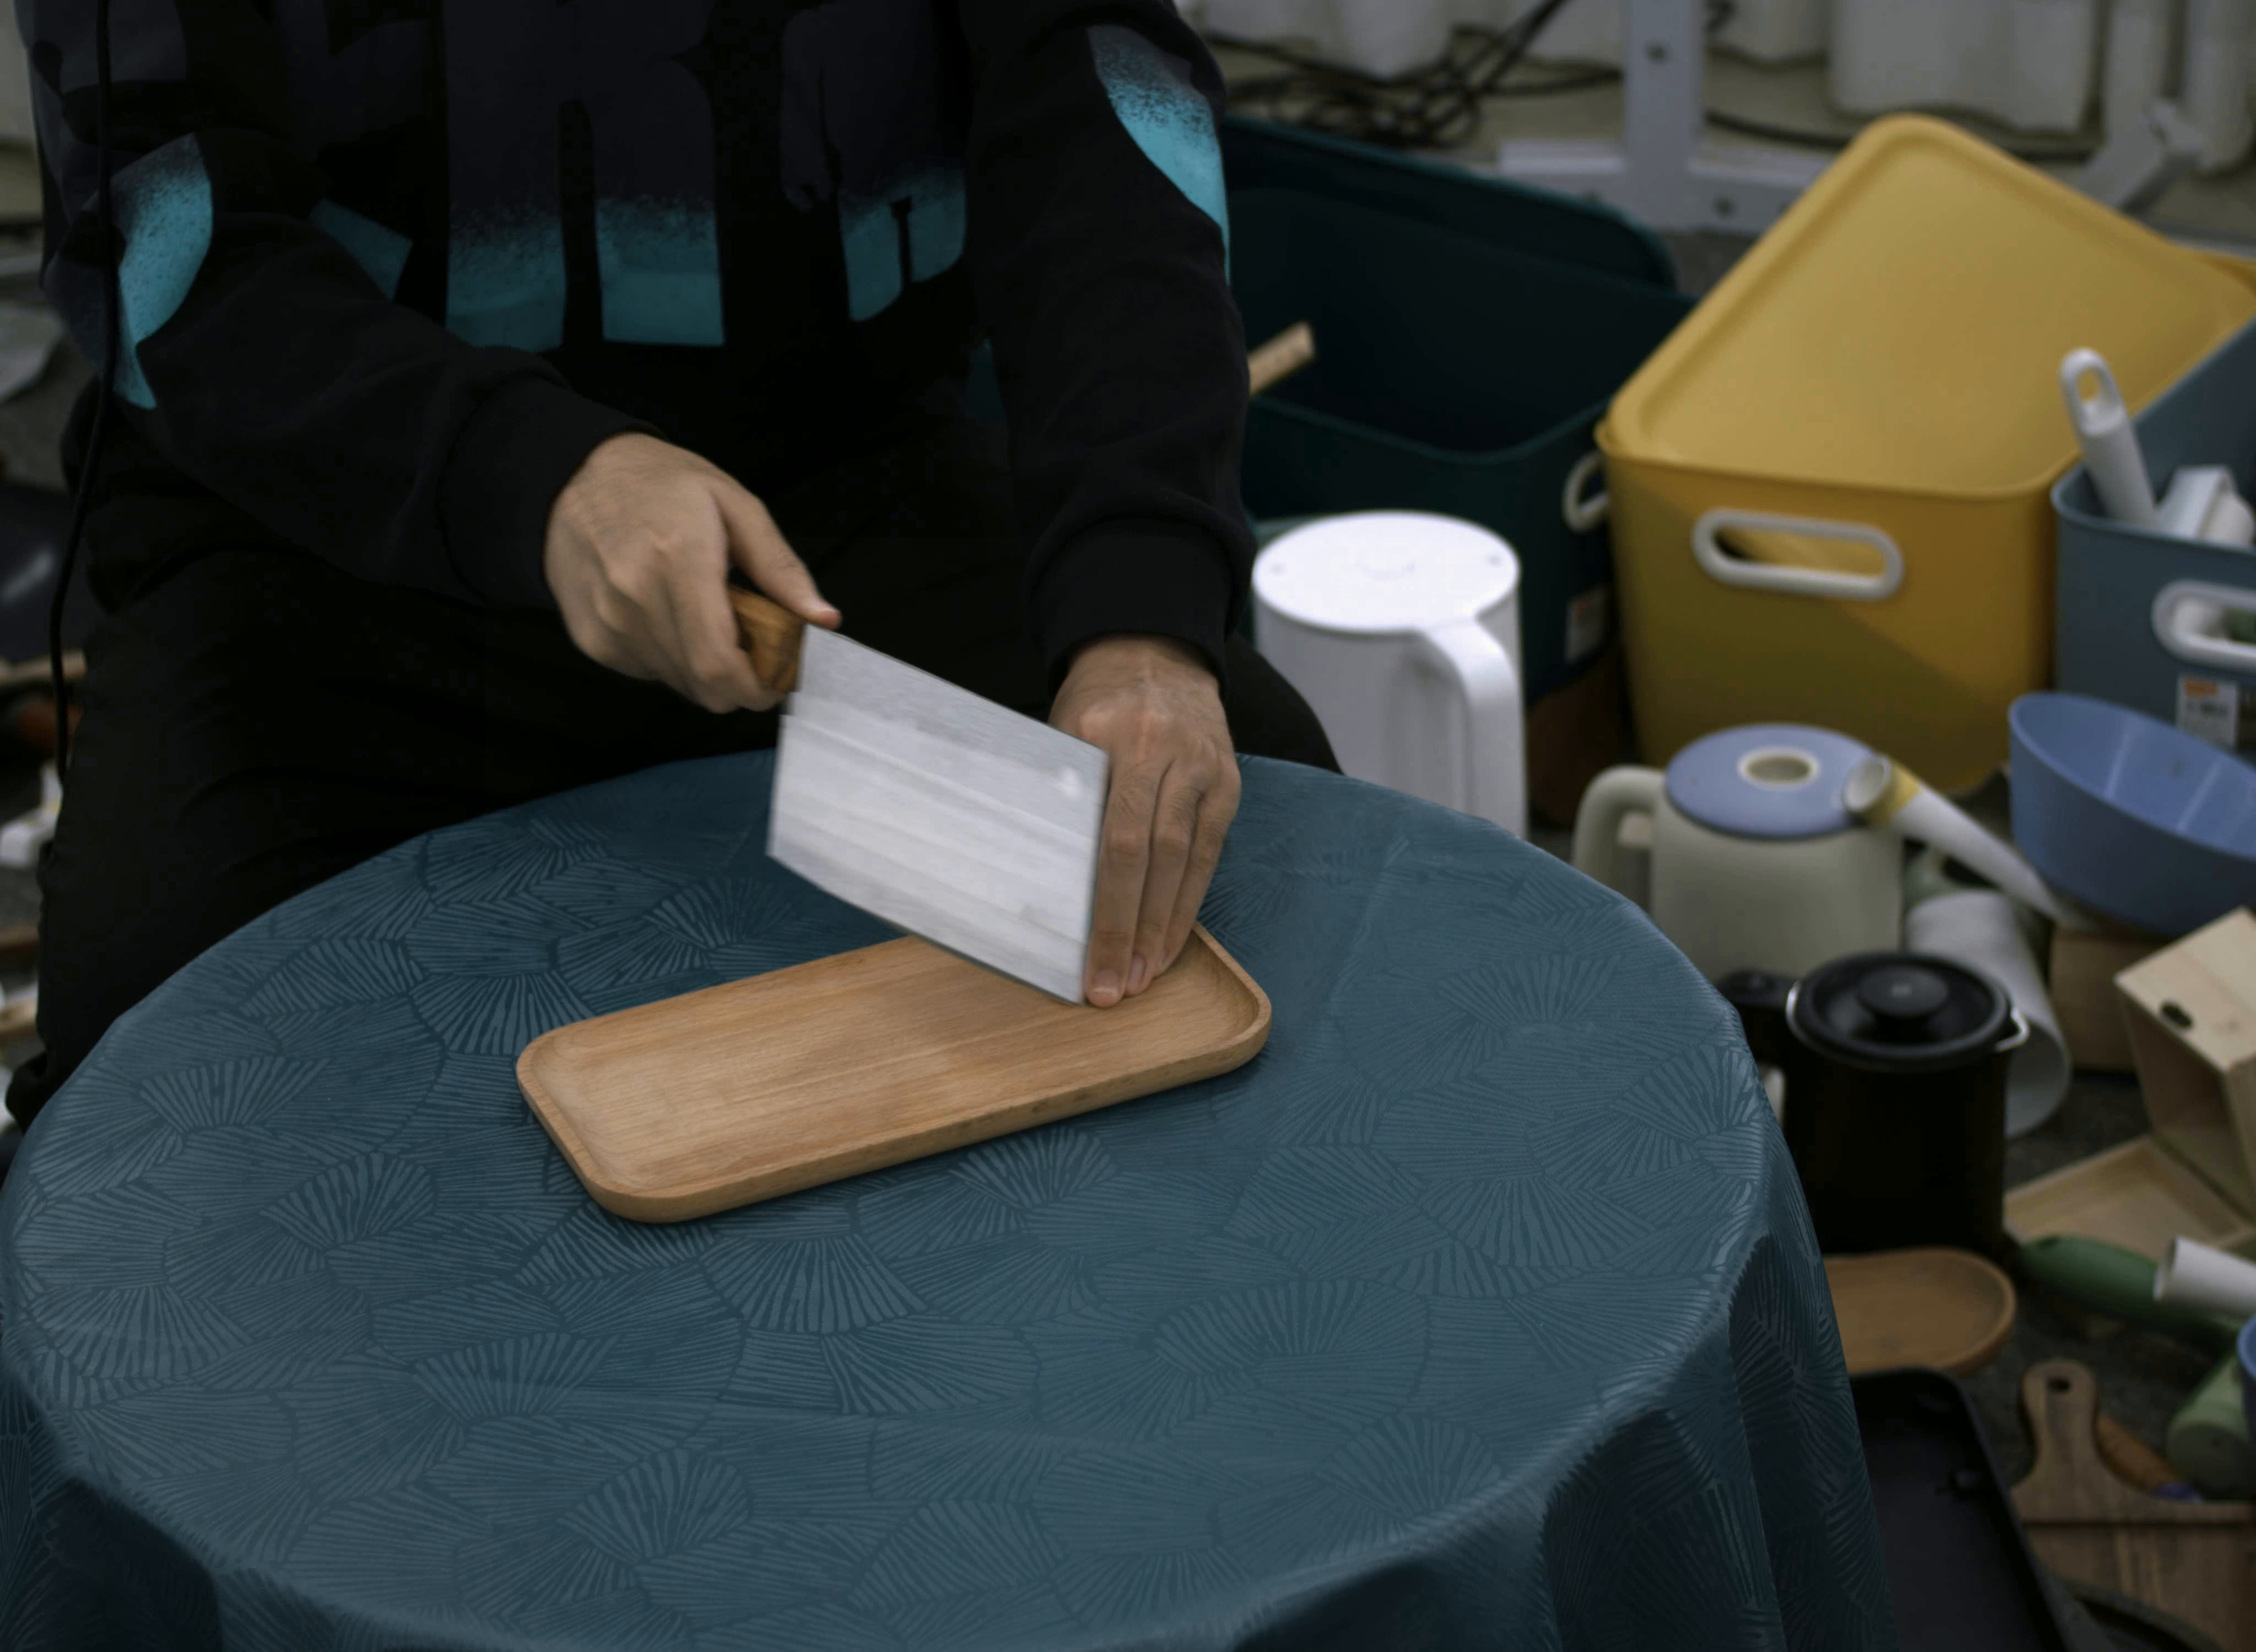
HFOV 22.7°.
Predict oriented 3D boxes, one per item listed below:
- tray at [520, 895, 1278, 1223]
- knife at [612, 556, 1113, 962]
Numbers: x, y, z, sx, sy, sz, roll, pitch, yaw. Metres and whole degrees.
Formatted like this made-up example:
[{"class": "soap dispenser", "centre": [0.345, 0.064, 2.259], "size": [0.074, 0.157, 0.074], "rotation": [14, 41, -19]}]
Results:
[{"class": "tray", "centre": [-0.079, 0.079, 1.935], "size": [0.251, 0.022, 0.131], "rotation": [-12, 31, -19]}, {"class": "knife", "centre": [-0.096, -0.023, 1.969], "size": [0.021, 0.092, 0.305], "rotation": [-6, 19, -37]}]
